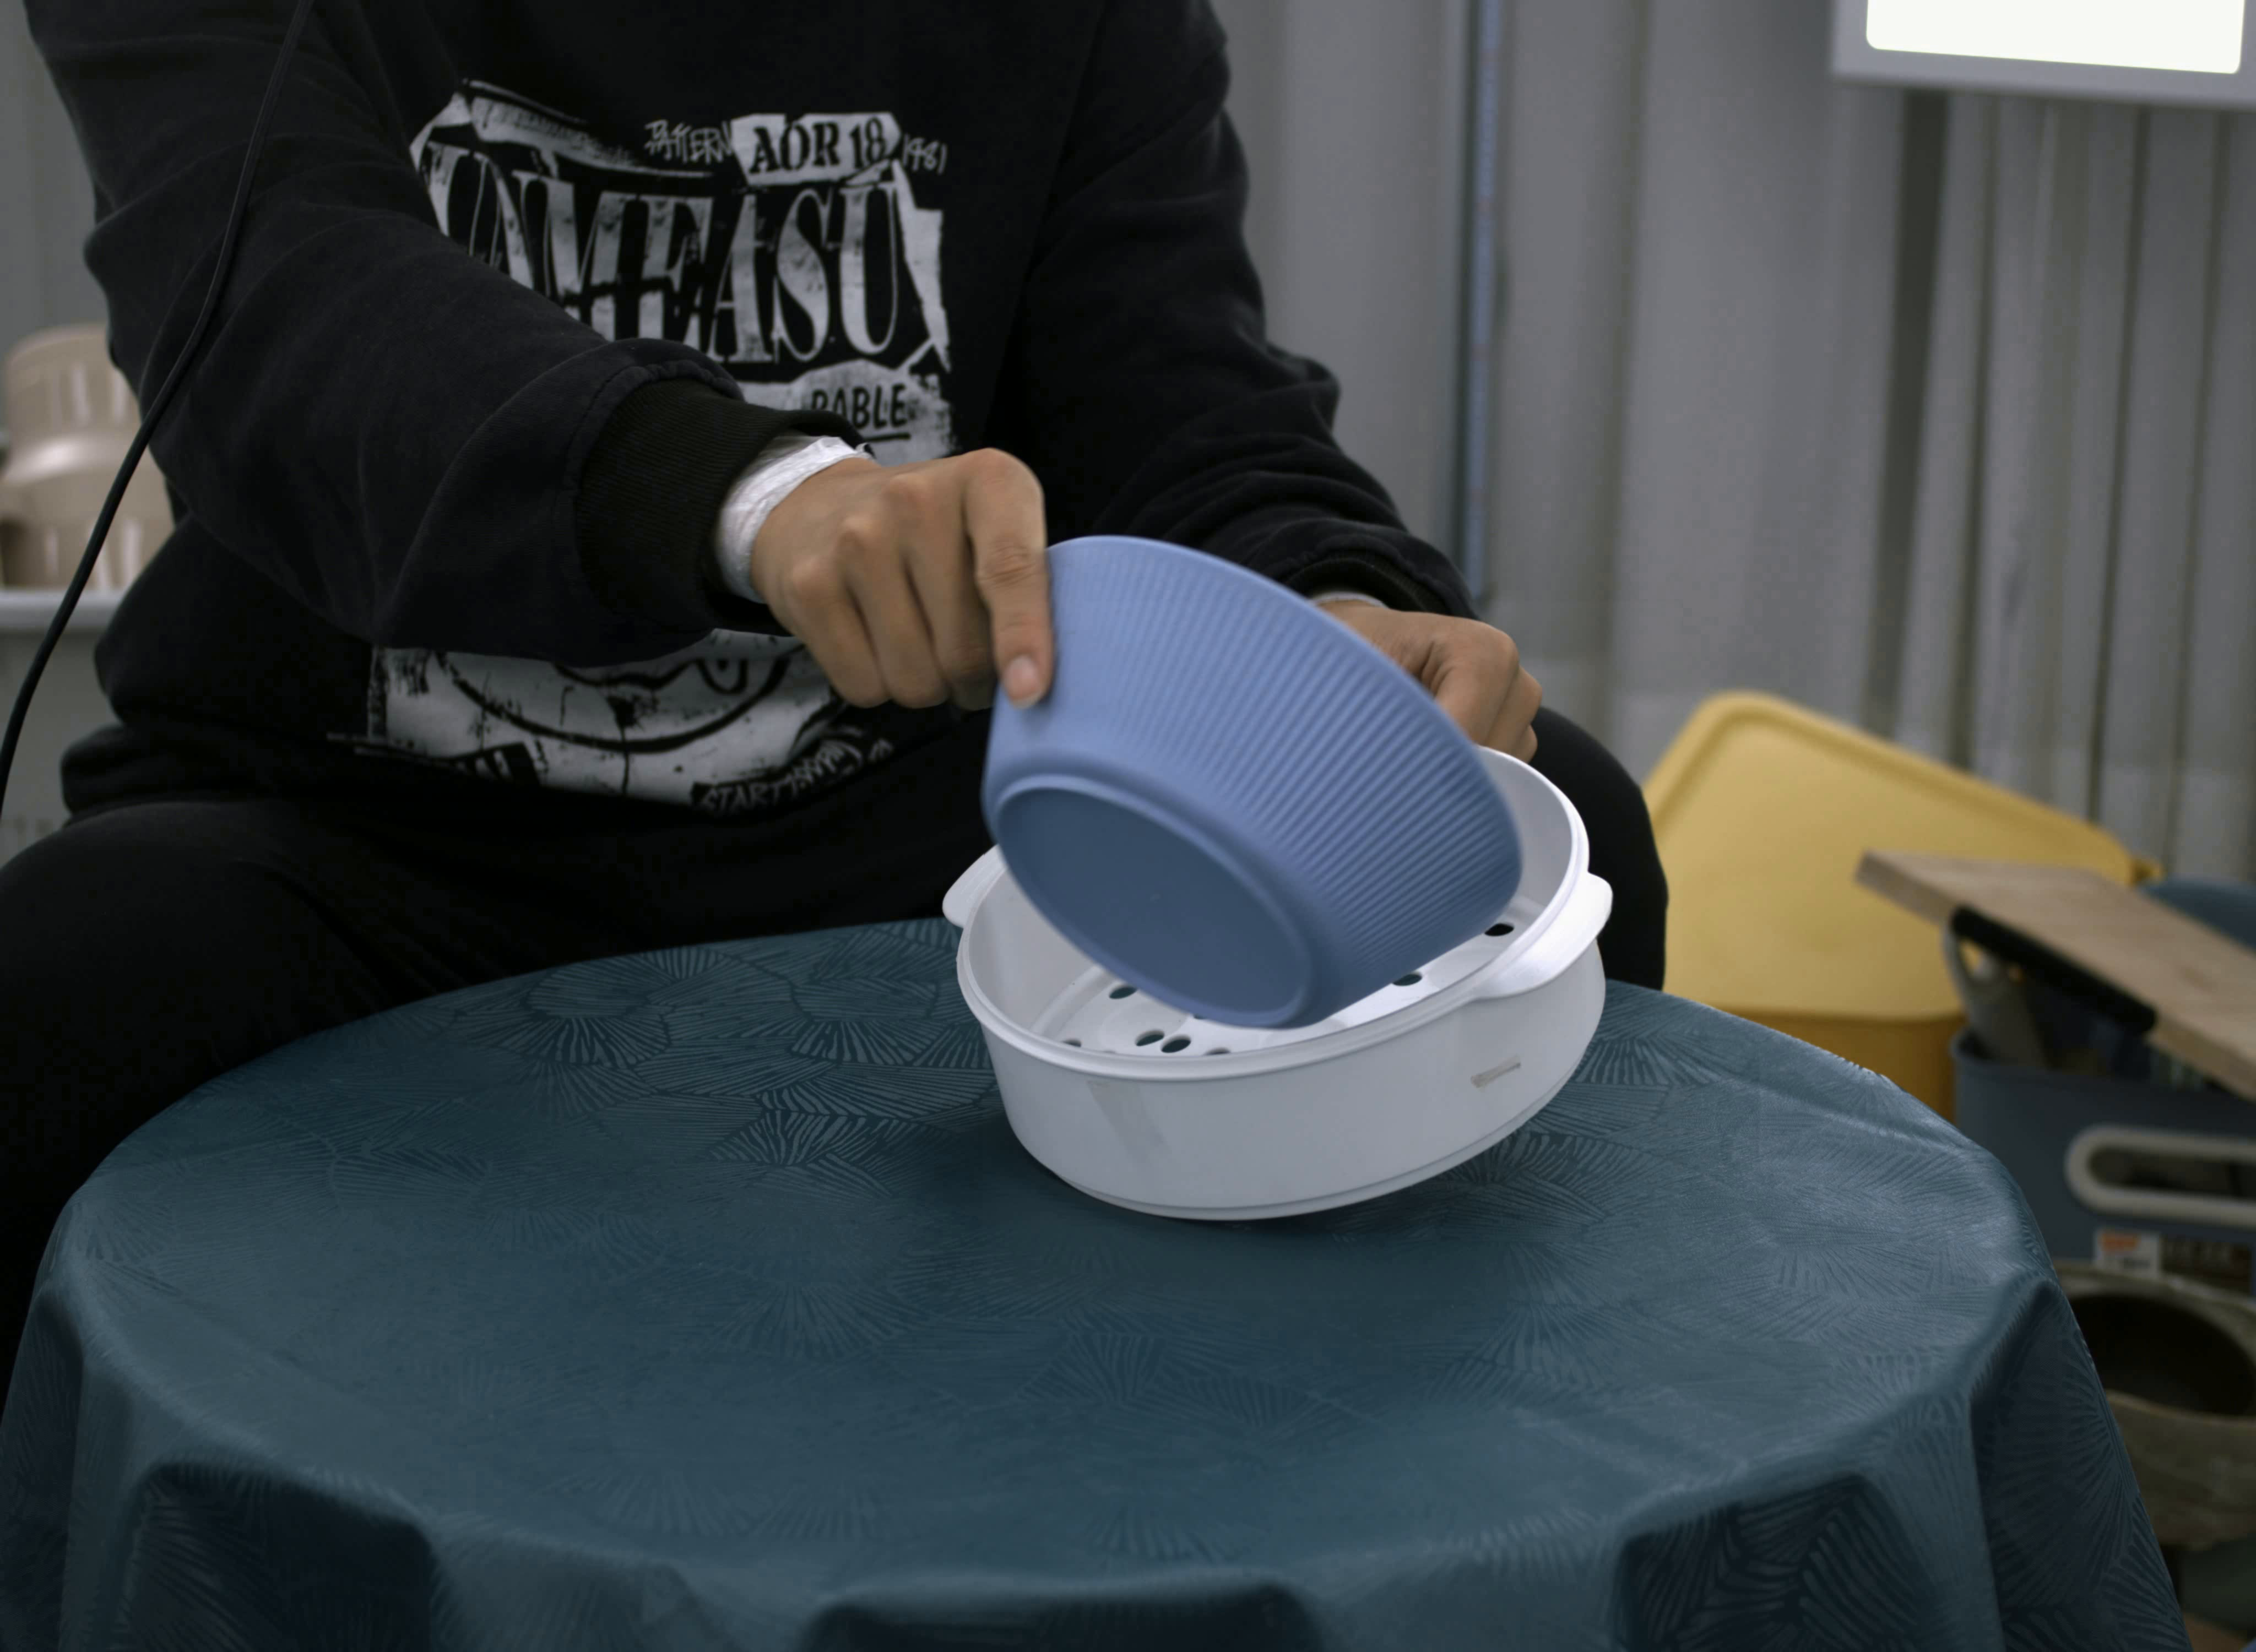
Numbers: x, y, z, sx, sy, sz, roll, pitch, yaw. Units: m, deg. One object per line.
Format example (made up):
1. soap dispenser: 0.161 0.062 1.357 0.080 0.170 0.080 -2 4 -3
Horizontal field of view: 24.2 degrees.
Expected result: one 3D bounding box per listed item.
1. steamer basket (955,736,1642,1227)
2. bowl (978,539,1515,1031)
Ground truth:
1. steamer basket: 0.055 0.047 1.651 0.228 0.070 0.202 9 36 32
2. bowl: 0.022 -0.001 1.546 0.174 0.178 0.070 14 58 37
